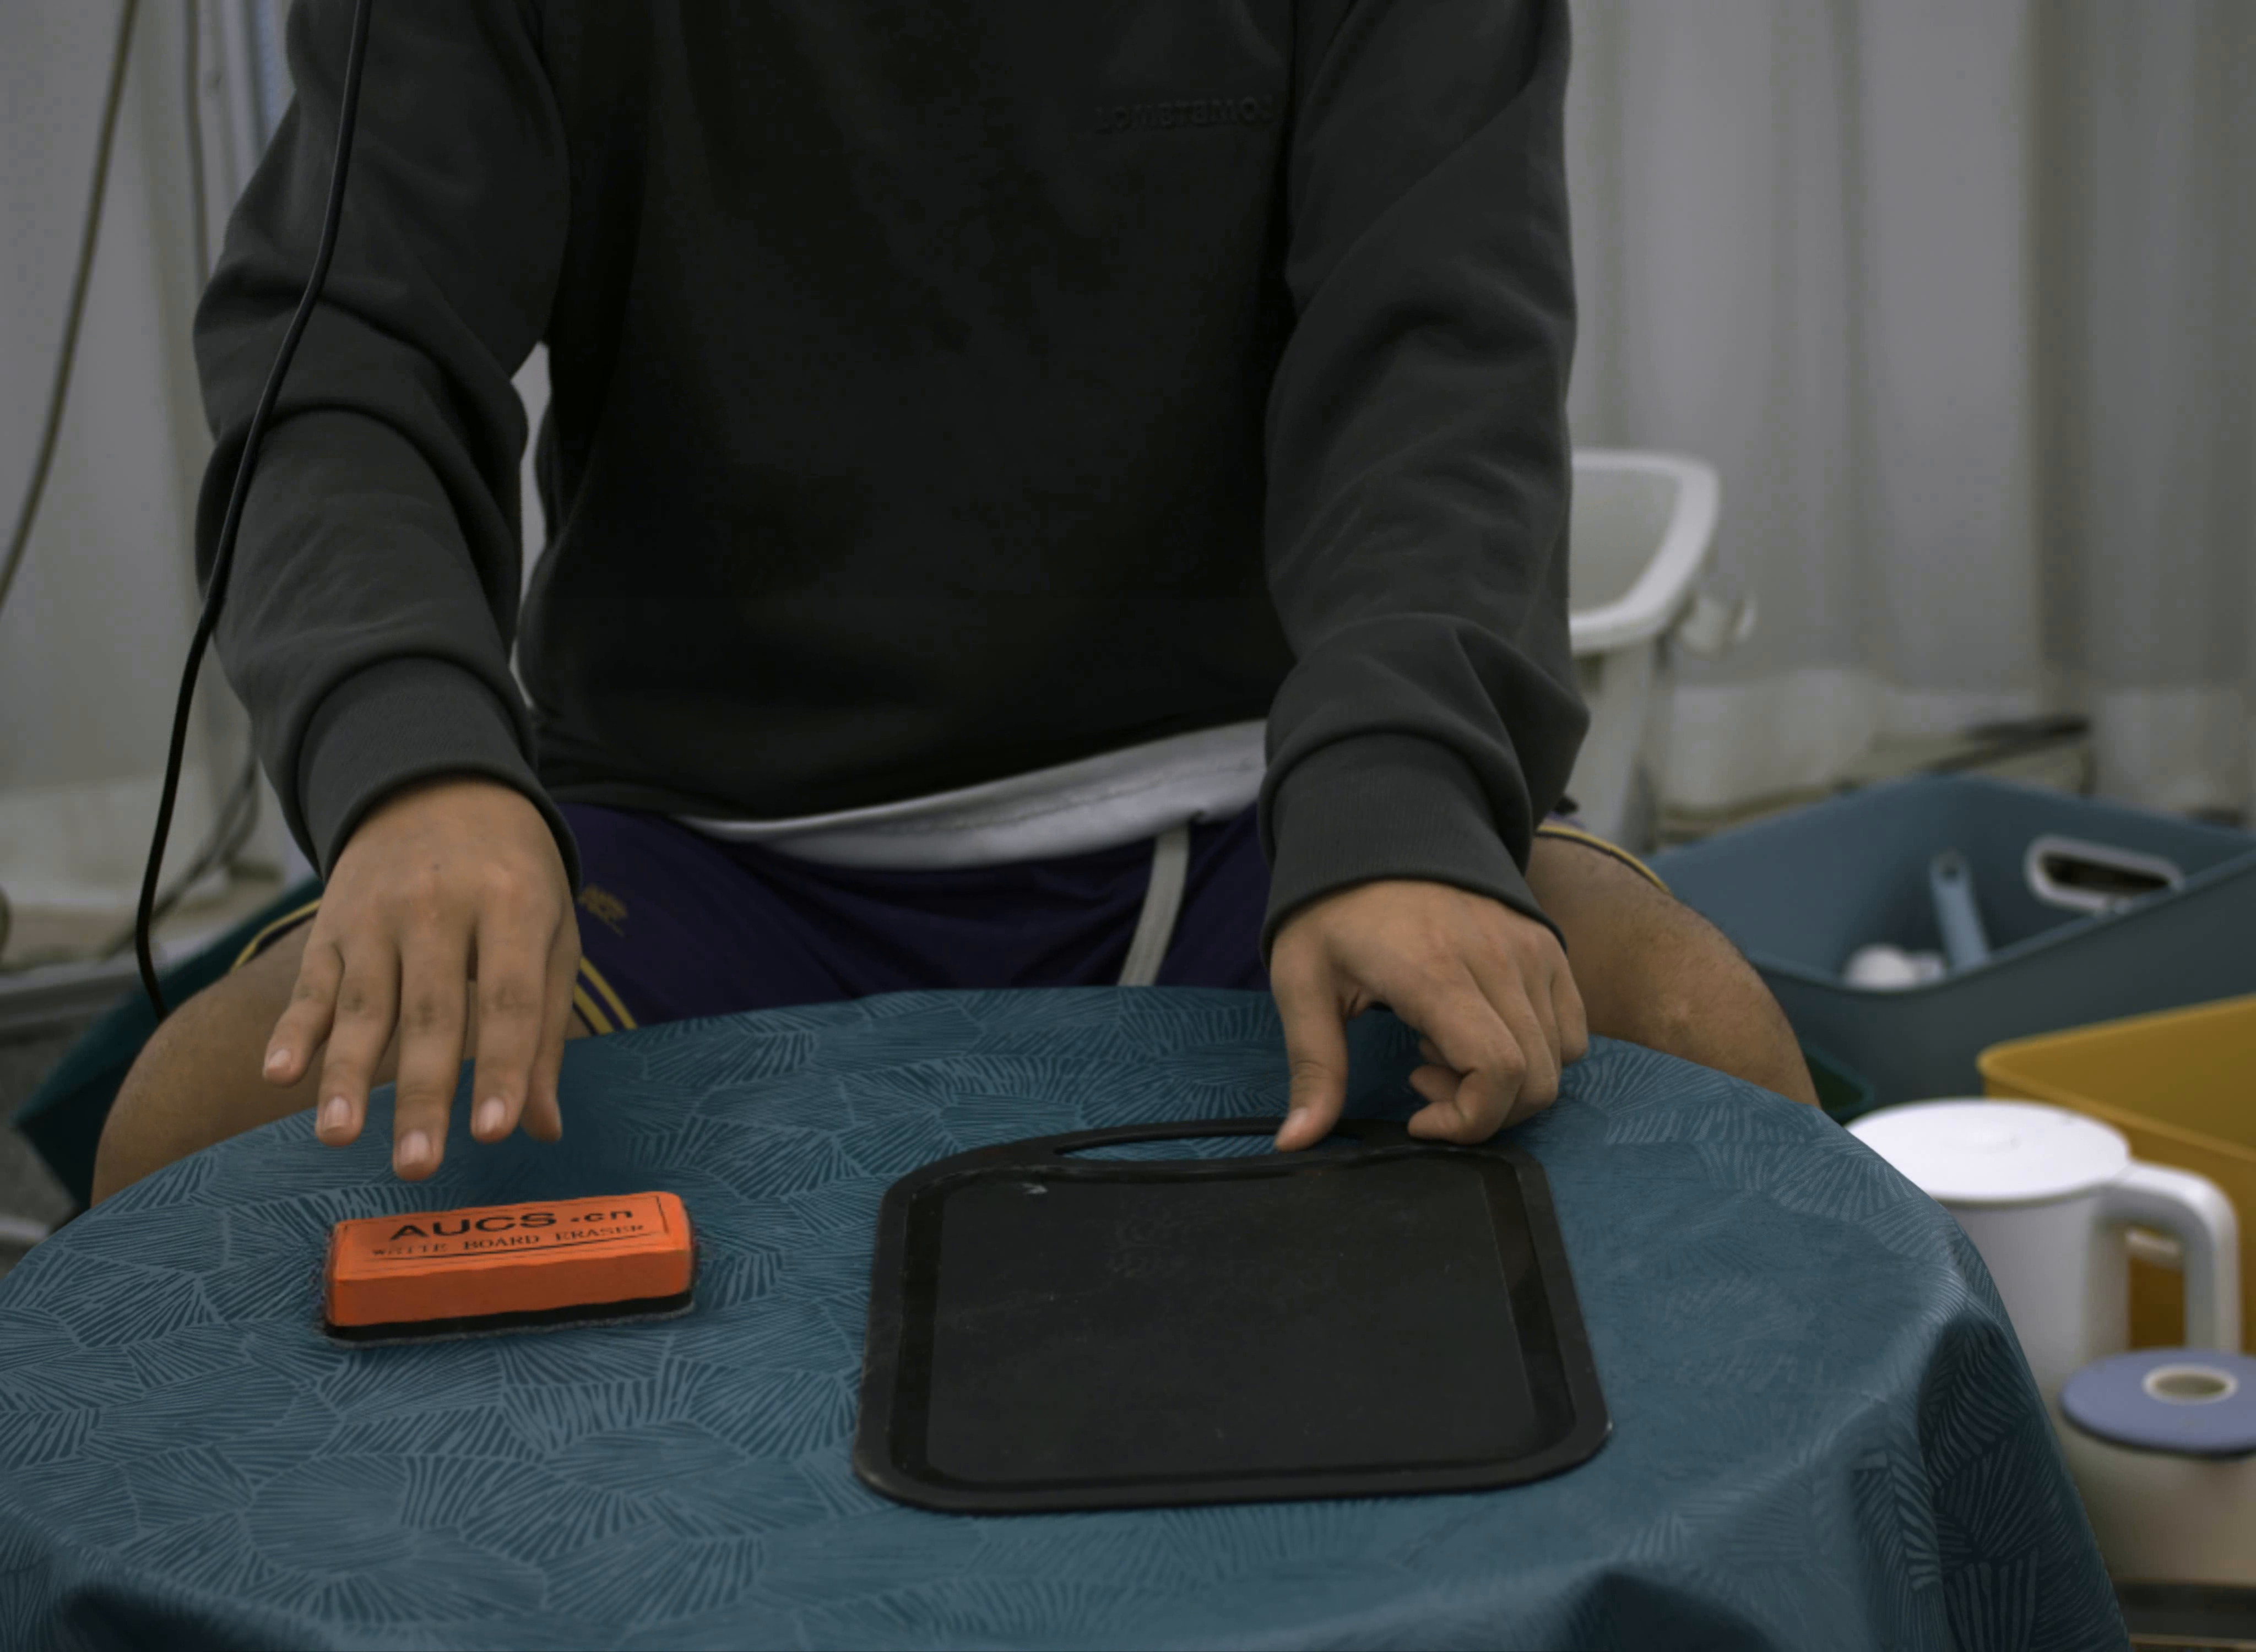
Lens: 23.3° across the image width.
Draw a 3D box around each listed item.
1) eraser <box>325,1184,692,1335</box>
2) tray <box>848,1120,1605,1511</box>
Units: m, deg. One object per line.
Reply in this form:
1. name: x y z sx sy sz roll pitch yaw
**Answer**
1. eraser: -0.186 0.130 1.638 0.107 0.023 0.059 -4 16 -8
2. tray: 0.026 0.137 1.614 0.210 0.010 0.327 -2 15 1
